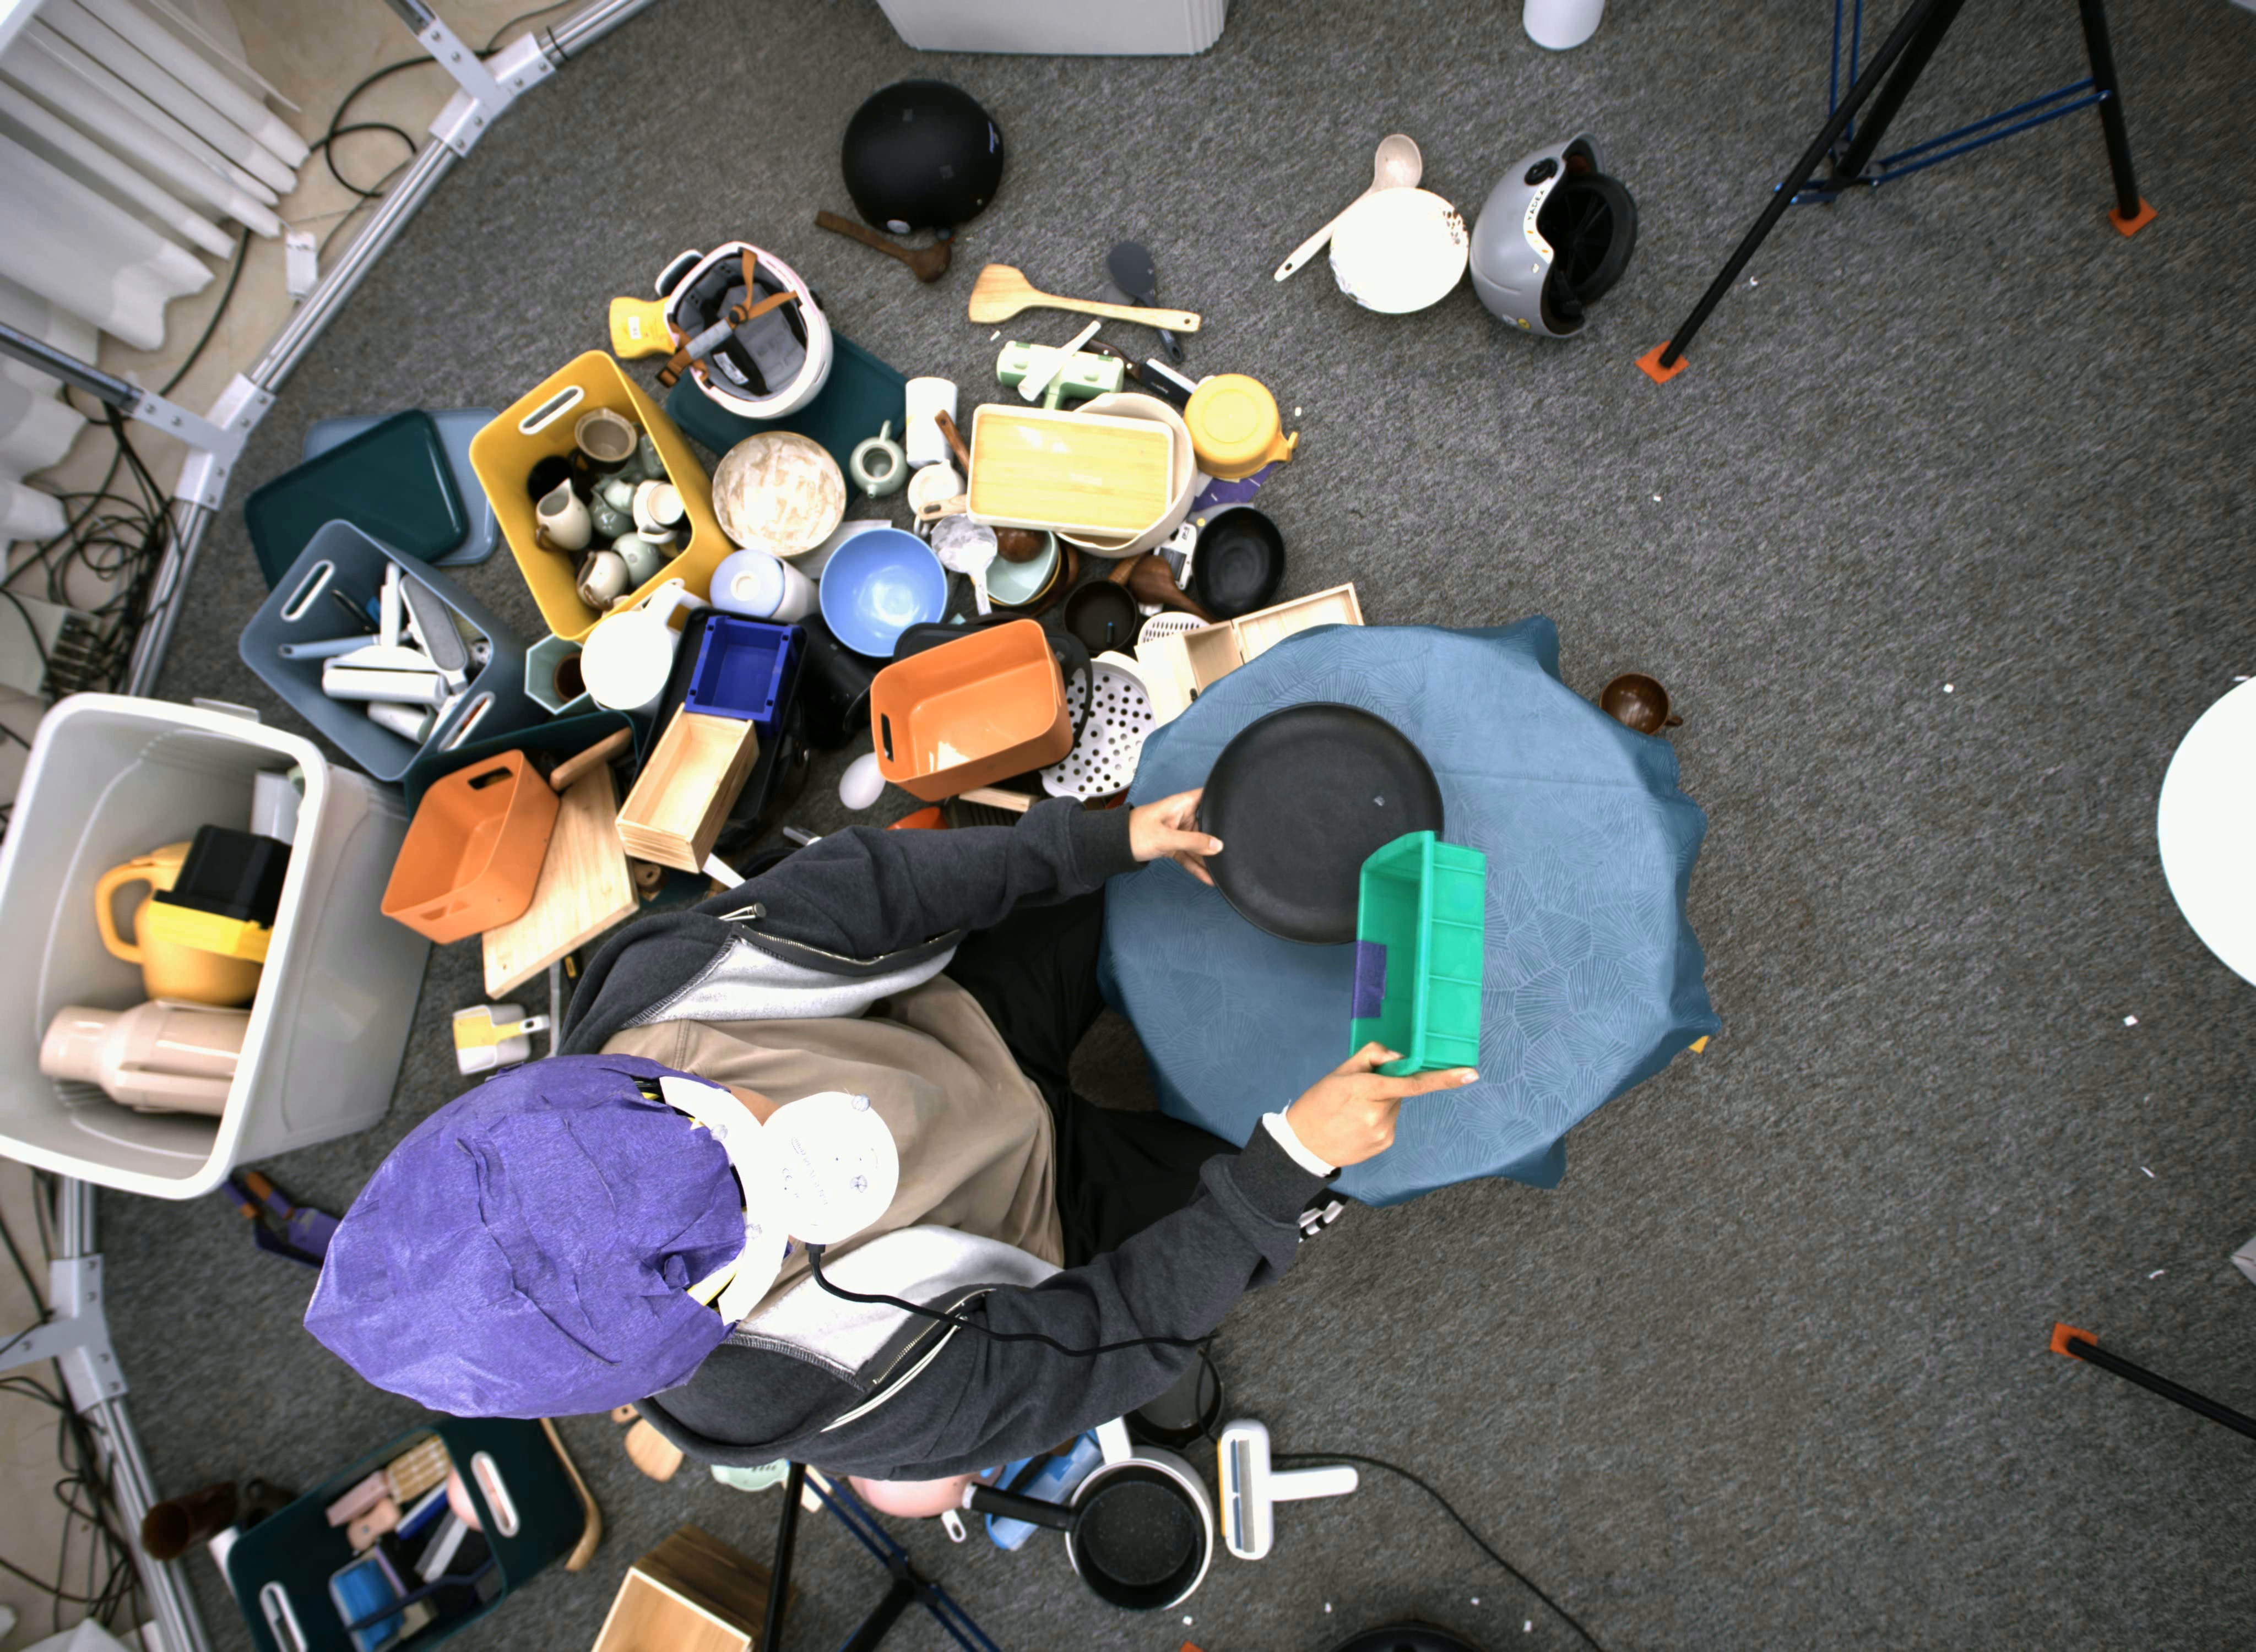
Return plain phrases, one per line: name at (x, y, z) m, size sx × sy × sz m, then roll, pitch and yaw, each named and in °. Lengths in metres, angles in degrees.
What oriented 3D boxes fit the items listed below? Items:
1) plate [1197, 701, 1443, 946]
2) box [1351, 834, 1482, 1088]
plate at (0.191, -0.003, 1.378) m, size 0.245 × 0.023 × 0.244 m, roll 0°, pitch 90°, yaw 6°
box at (0.248, 0.118, 1.190) m, size 0.065 × 0.140 × 0.207 m, roll 5°, pitch 75°, yaw -13°
